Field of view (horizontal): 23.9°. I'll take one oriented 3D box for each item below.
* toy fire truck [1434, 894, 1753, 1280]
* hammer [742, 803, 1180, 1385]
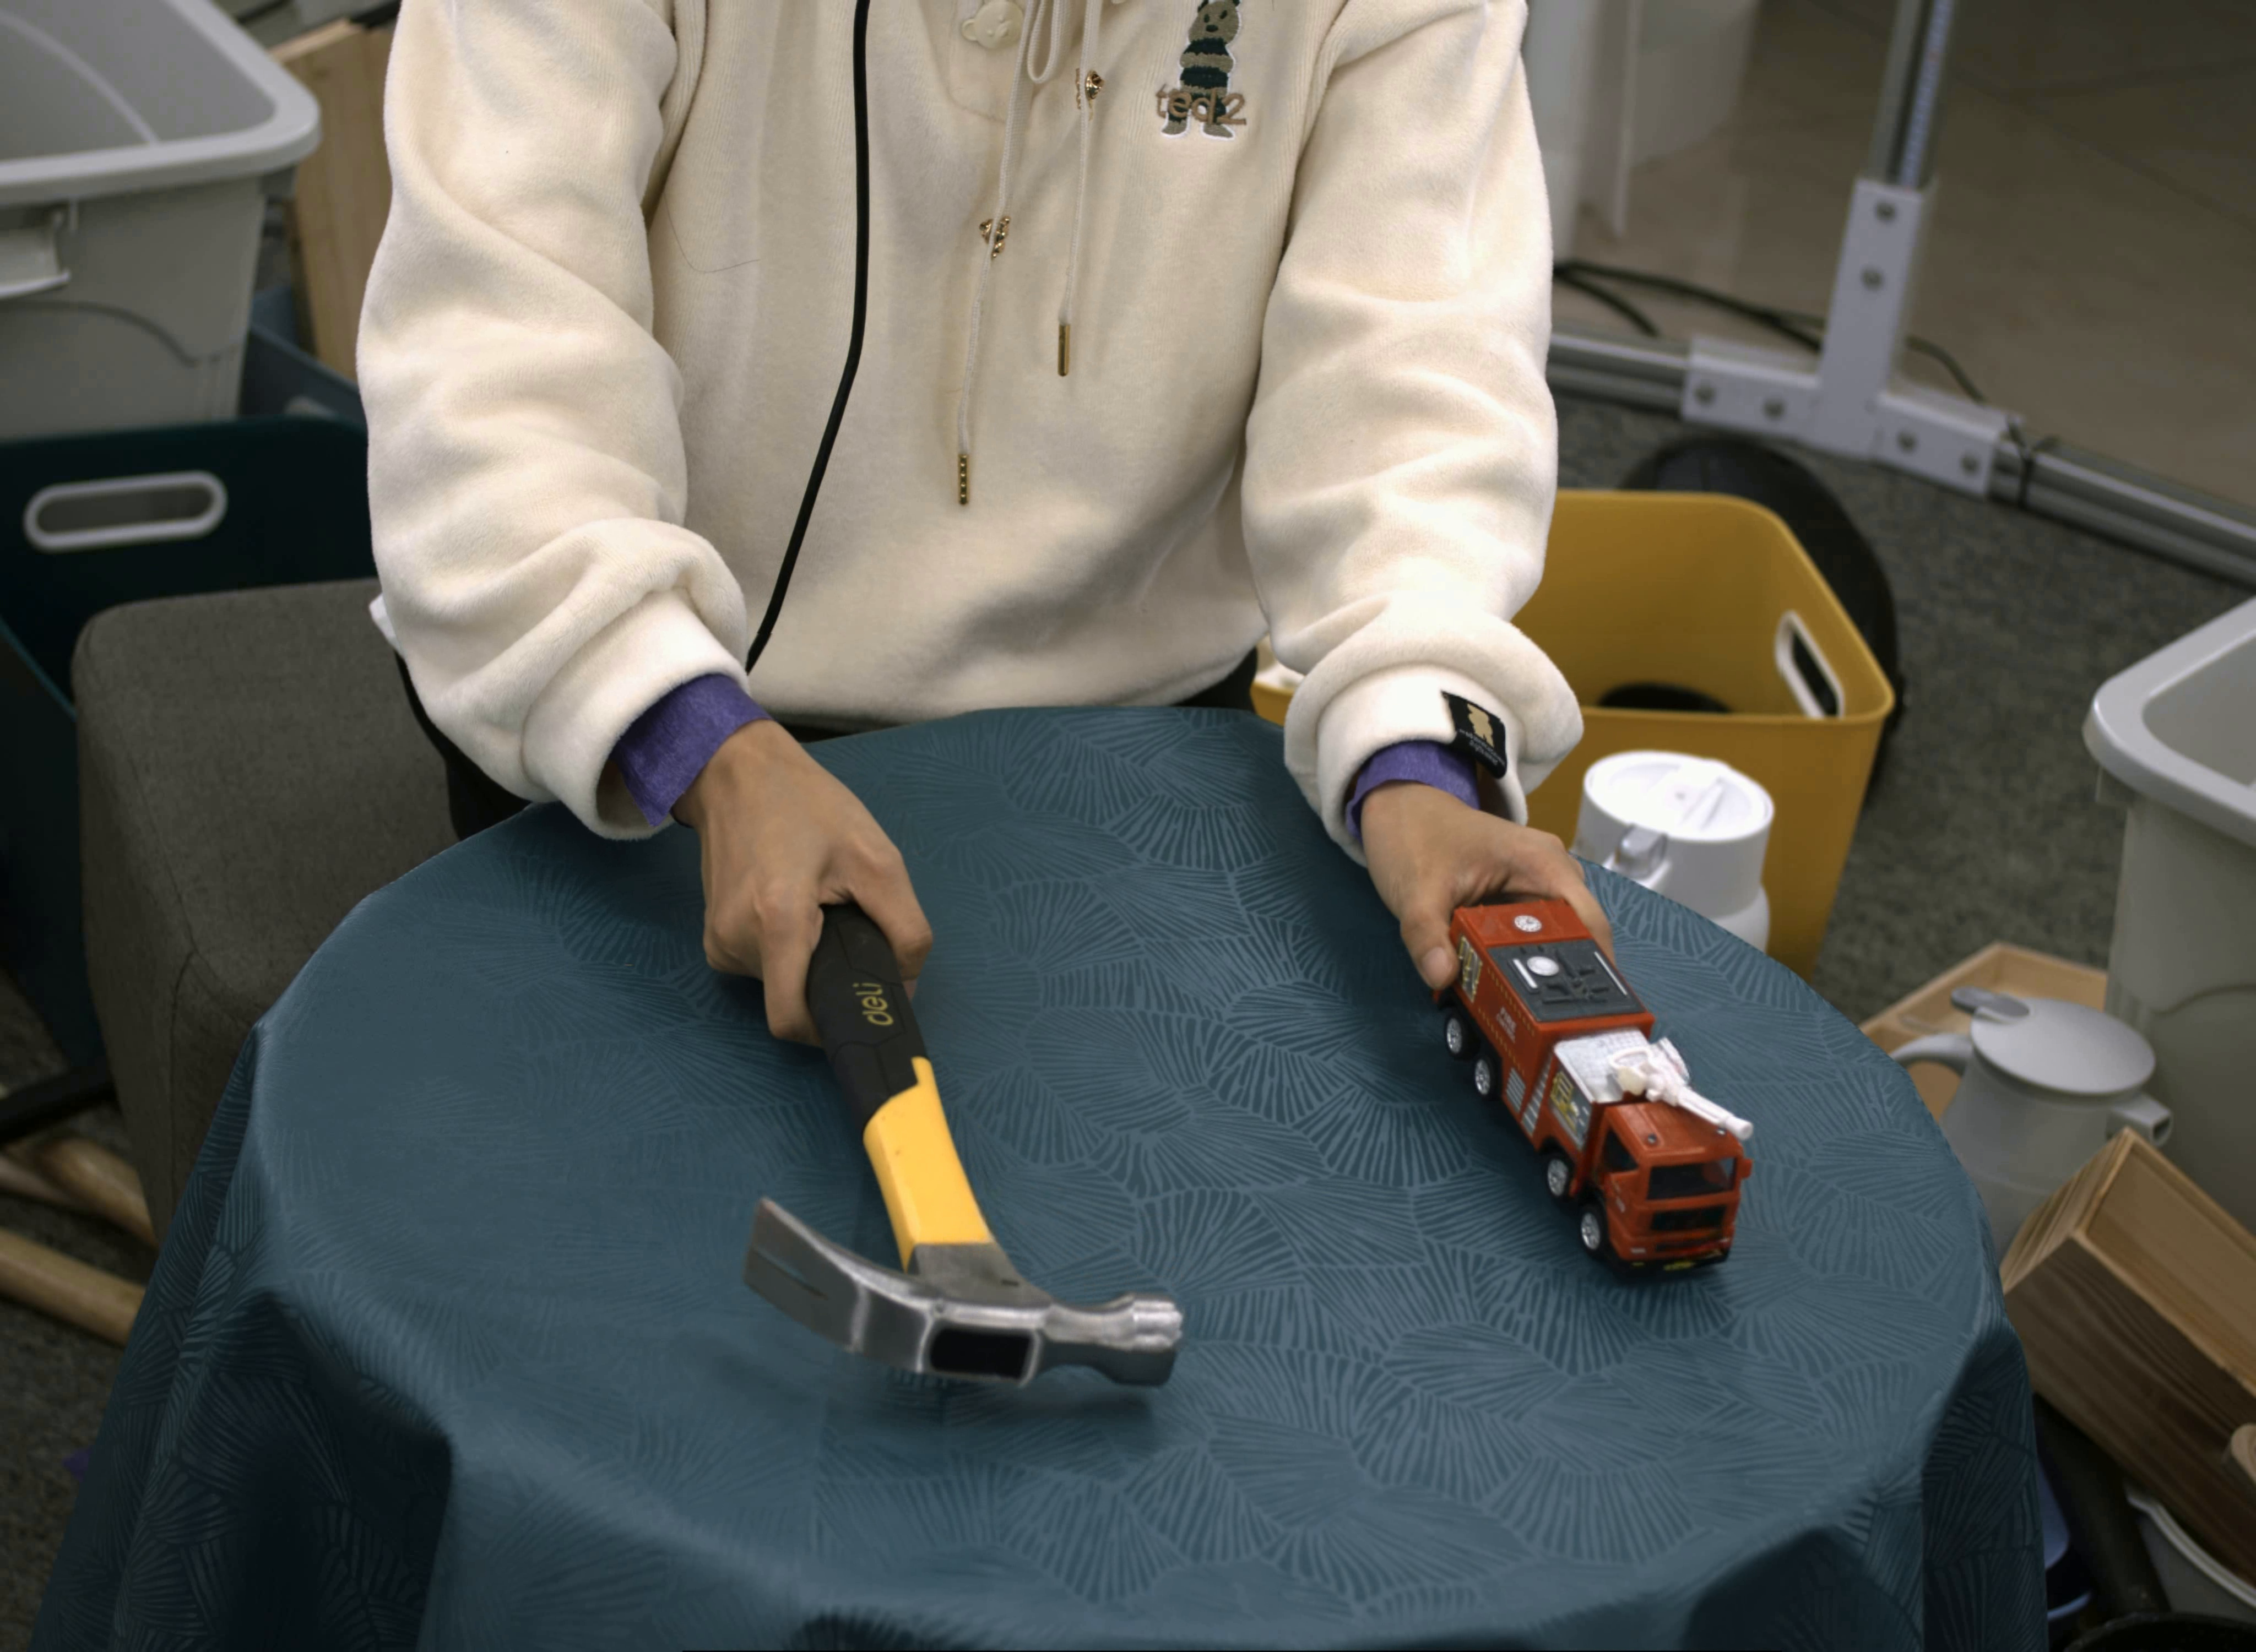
[{"bbox_3d":[0.160,0.088,1.831,0.053,0.070,0.169,-4,33,-23],"label":"toy fire truck"},{"bbox_3d":[-0.079,0.081,1.793,0.130,0.032,0.341,5,27,-15],"label":"hammer"}]
